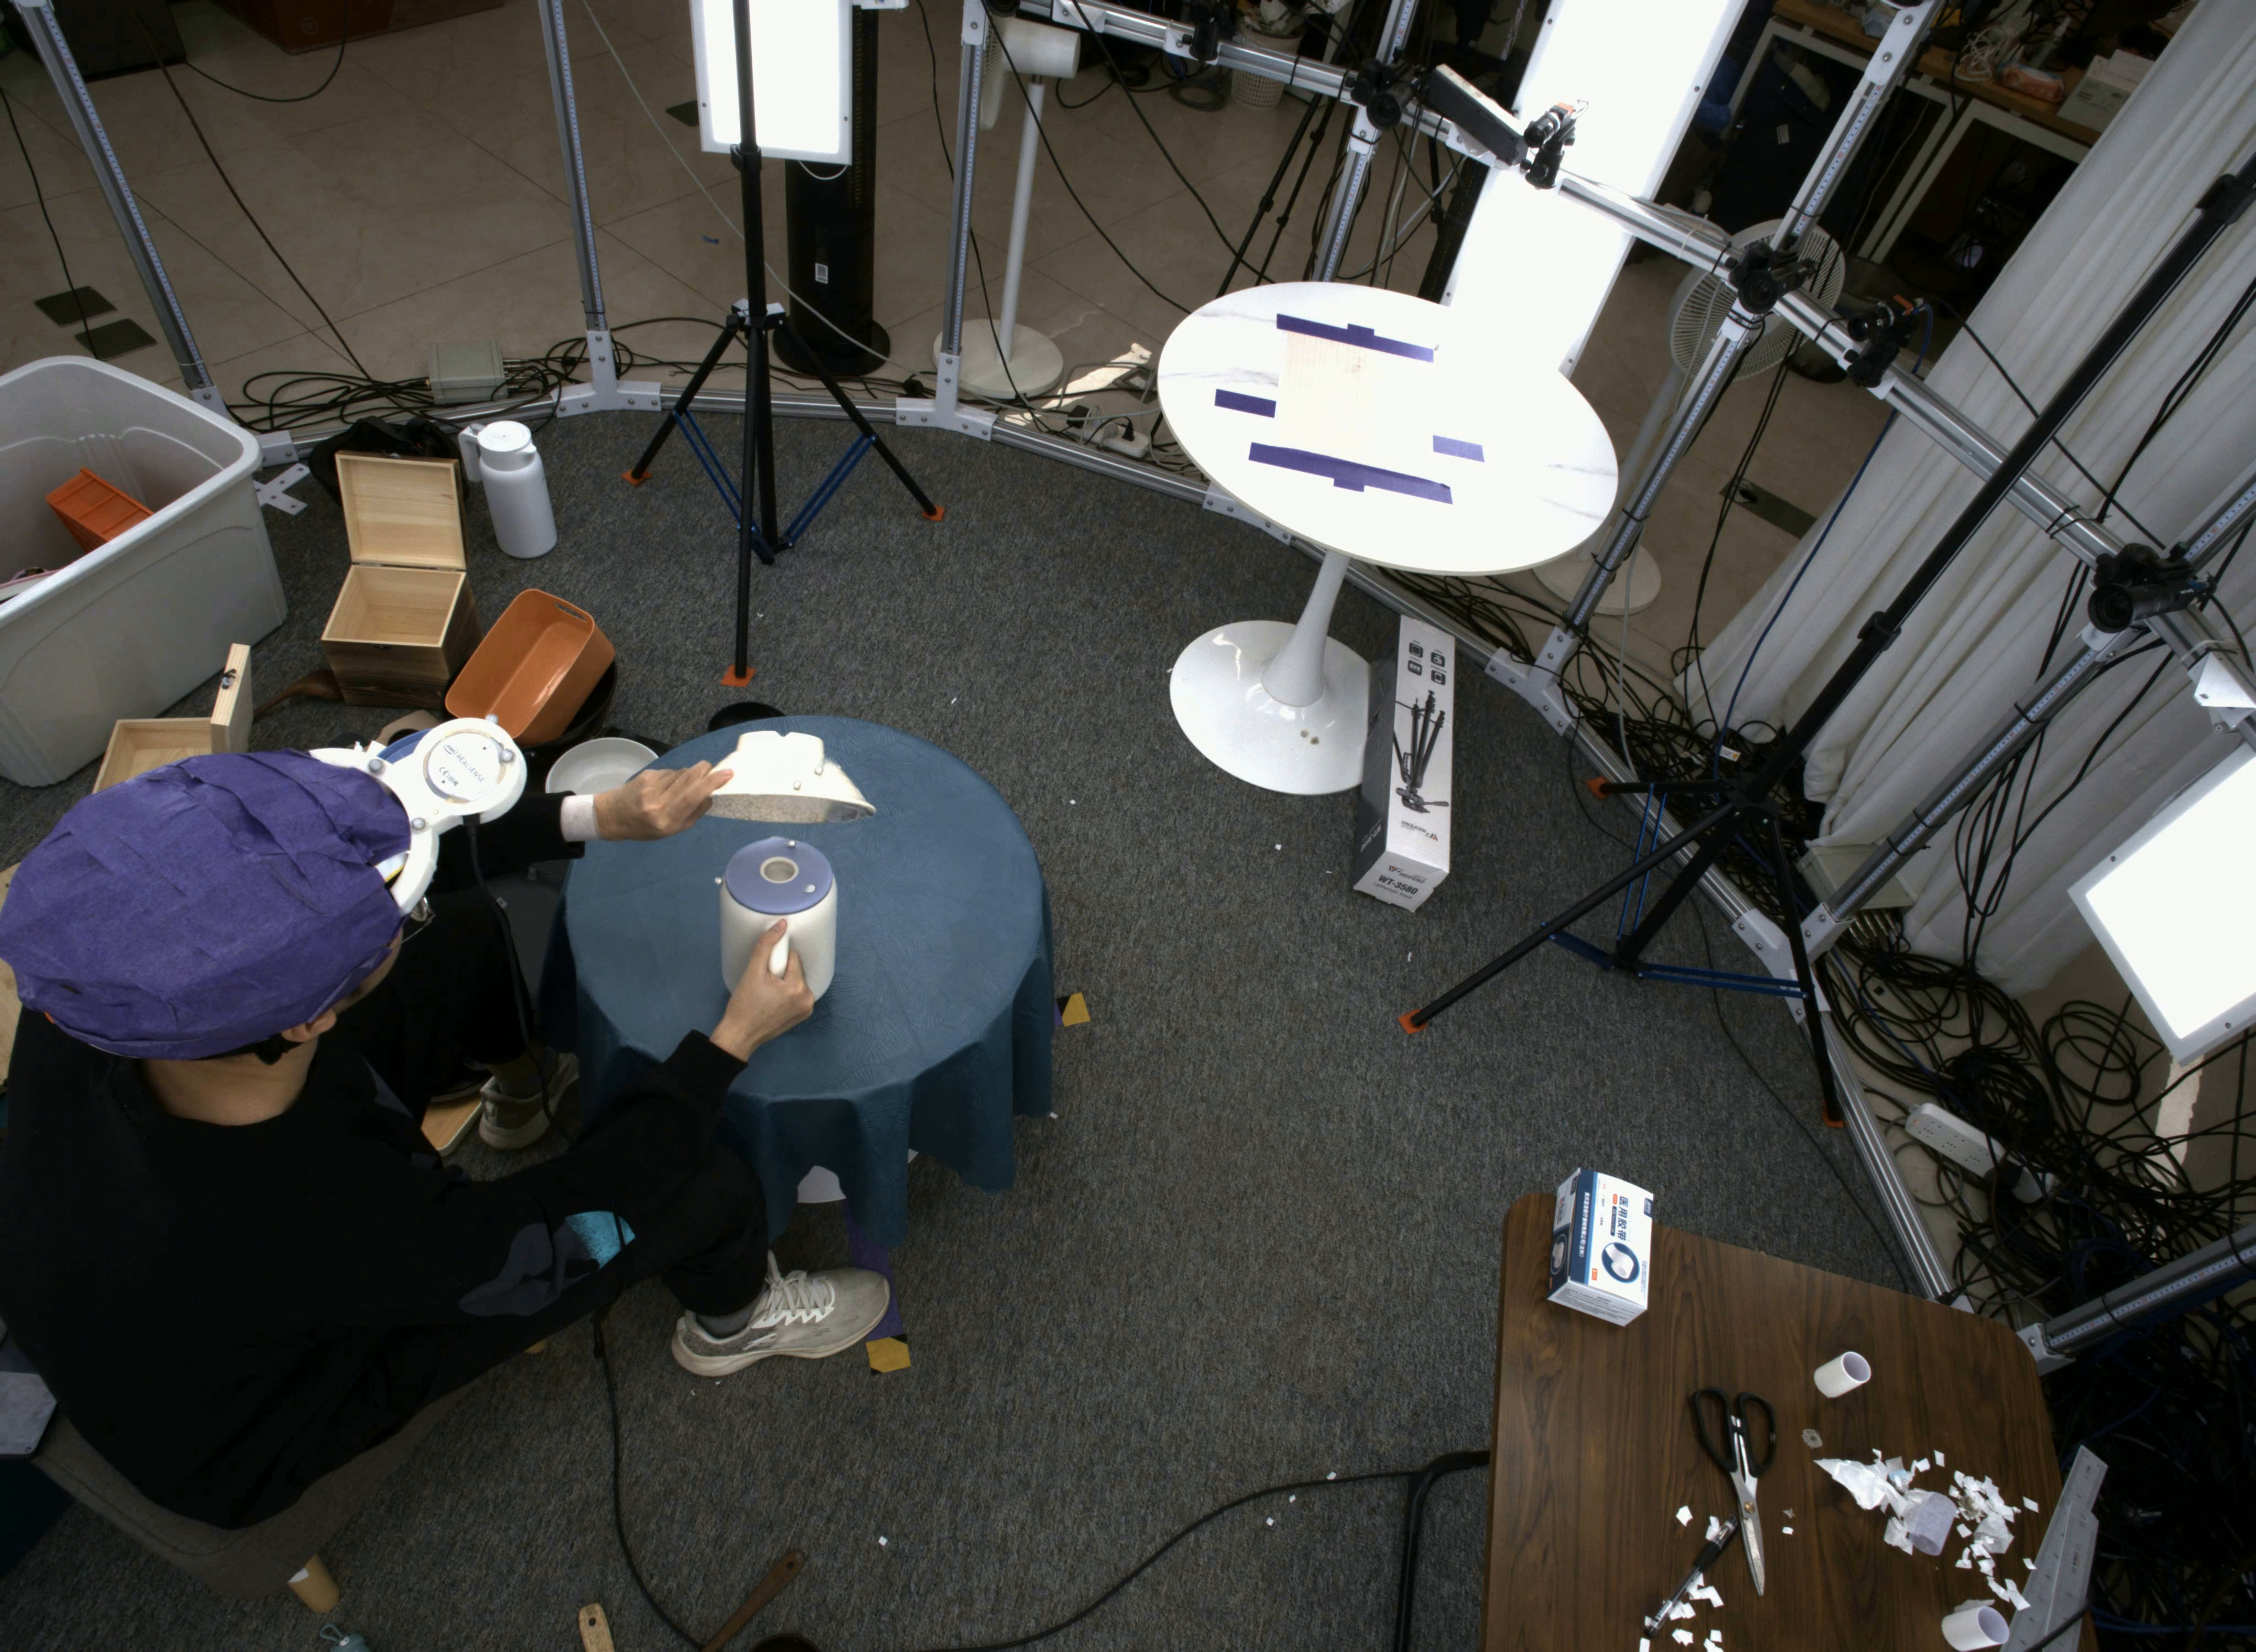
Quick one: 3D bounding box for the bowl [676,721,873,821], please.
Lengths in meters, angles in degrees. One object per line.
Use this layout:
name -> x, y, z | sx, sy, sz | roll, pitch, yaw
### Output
bowl -> -0.369, -0.062, 1.365 | 0.204, 0.203, 0.078 | 5, 81, -10

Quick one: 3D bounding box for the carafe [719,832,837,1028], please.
carafe -> -0.400, 0.129, 1.485 | 0.132, 0.187, 0.186 | -2, 47, -15
